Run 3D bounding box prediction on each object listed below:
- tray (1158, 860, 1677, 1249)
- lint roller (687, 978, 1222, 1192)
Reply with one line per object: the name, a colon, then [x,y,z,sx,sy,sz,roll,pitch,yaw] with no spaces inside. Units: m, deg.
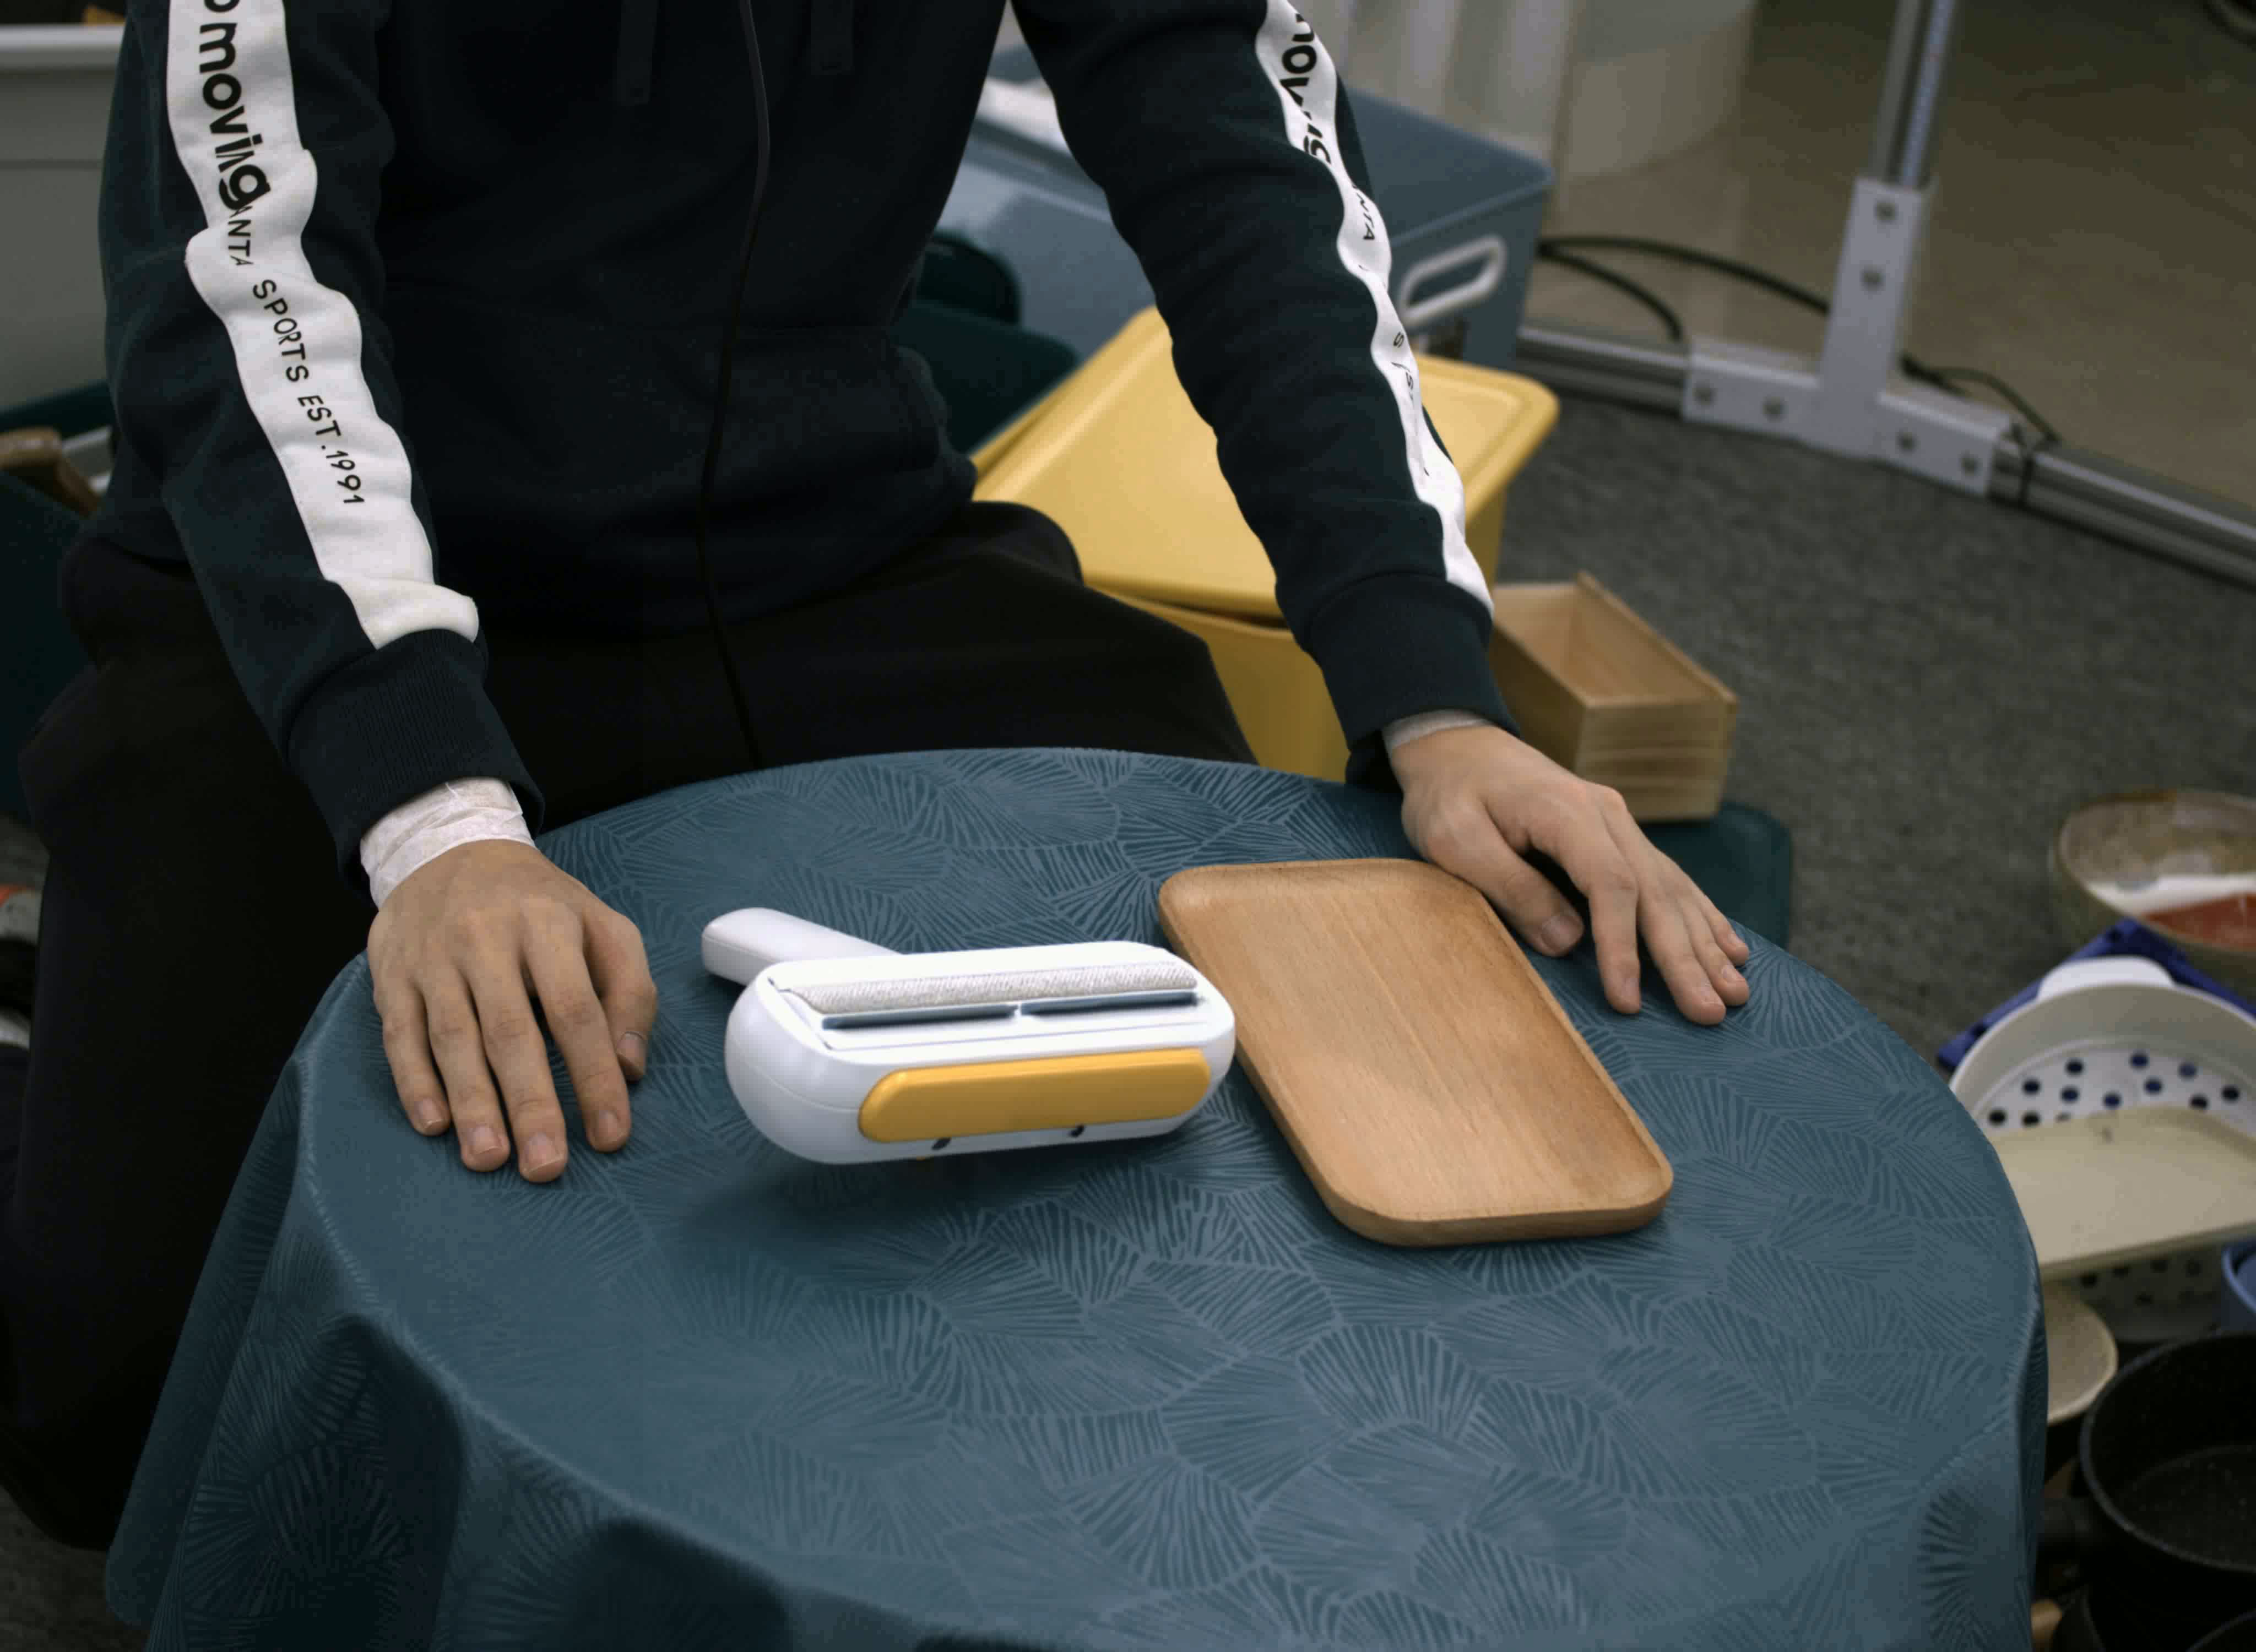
tray: [0.099,0.078,1.893,0.130,0.023,0.253,0,27,-17]
lint roller: [-0.088,0.077,1.838,0.191,0.074,0.194,-3,12,-32]
